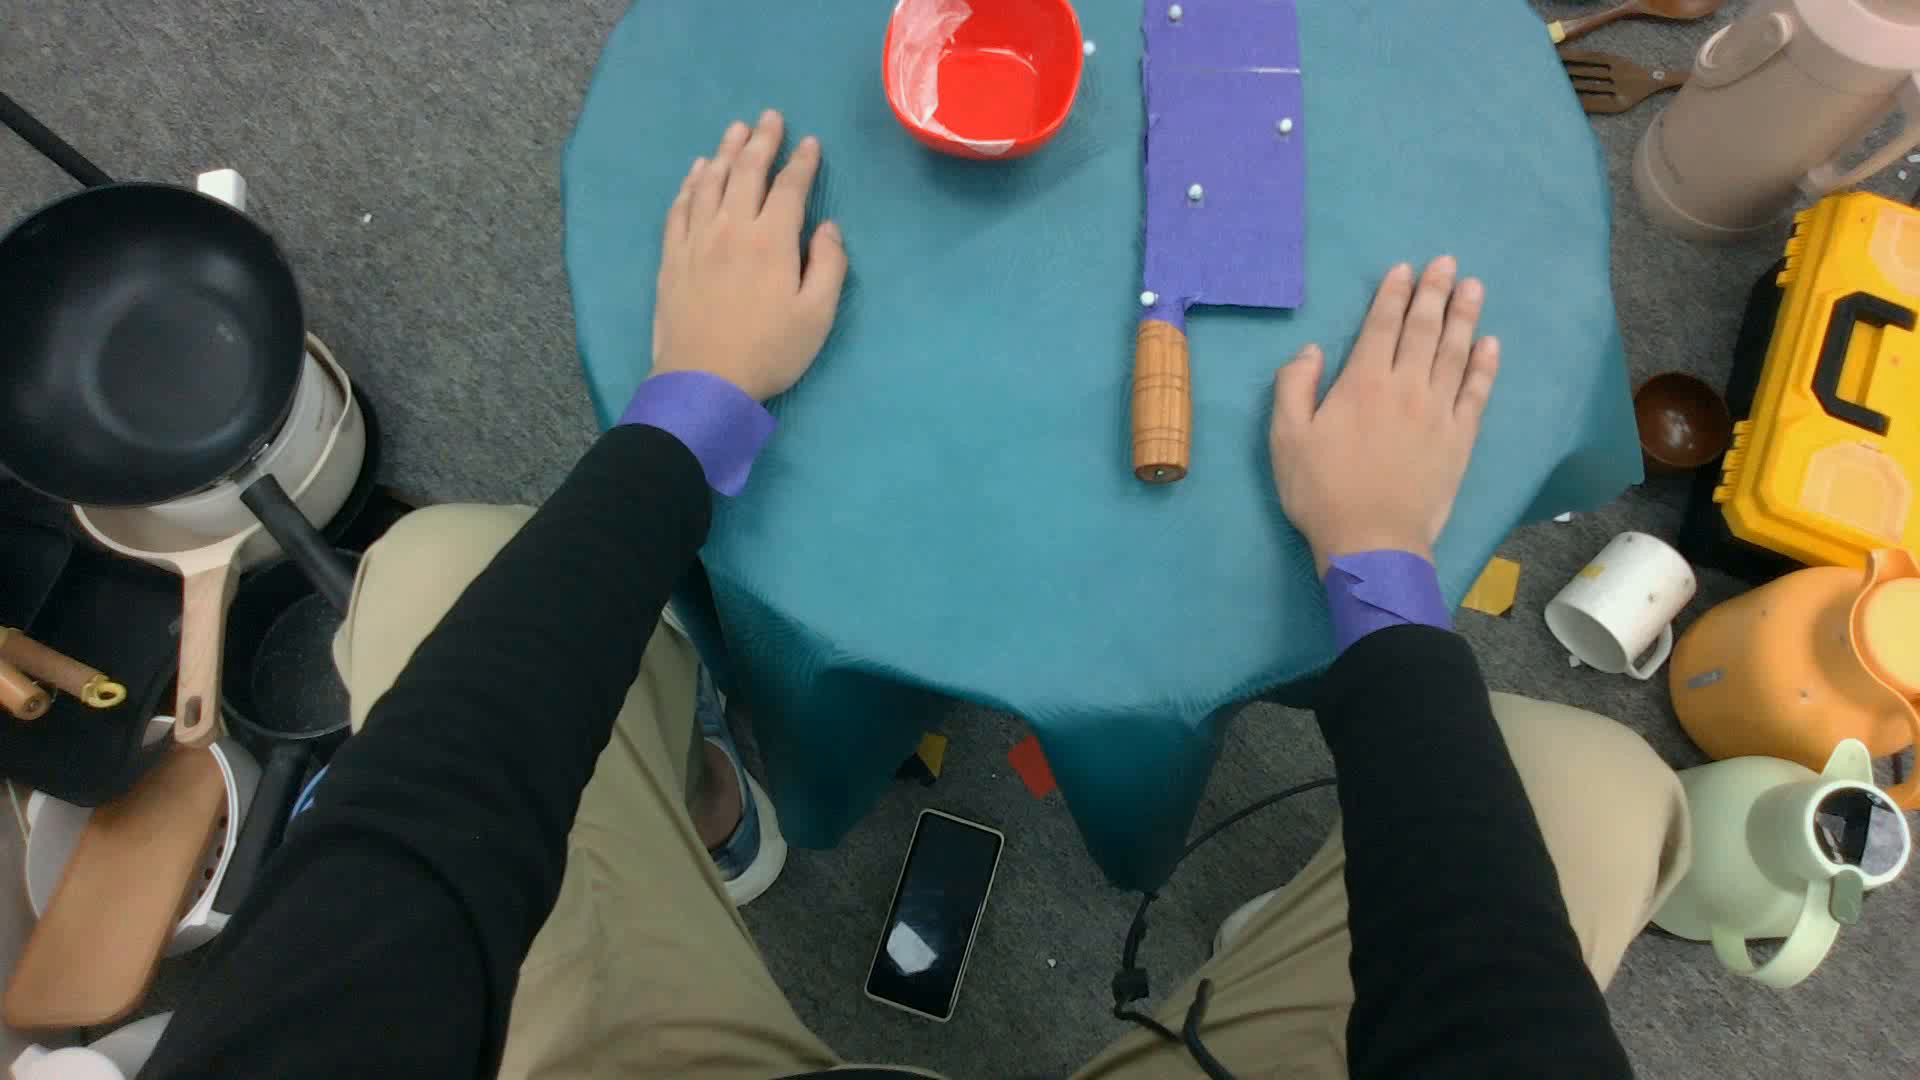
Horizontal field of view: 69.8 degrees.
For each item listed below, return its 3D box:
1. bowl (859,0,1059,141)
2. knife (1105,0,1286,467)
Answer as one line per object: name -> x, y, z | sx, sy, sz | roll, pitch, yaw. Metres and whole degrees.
bowl -> -0.001, -0.270, 0.783 | 0.119, 0.051, 0.119 | 1, 71, -2
knife -> 0.134, -0.192, 0.778 | 0.104, 0.032, 0.316 | 1, 73, 0
